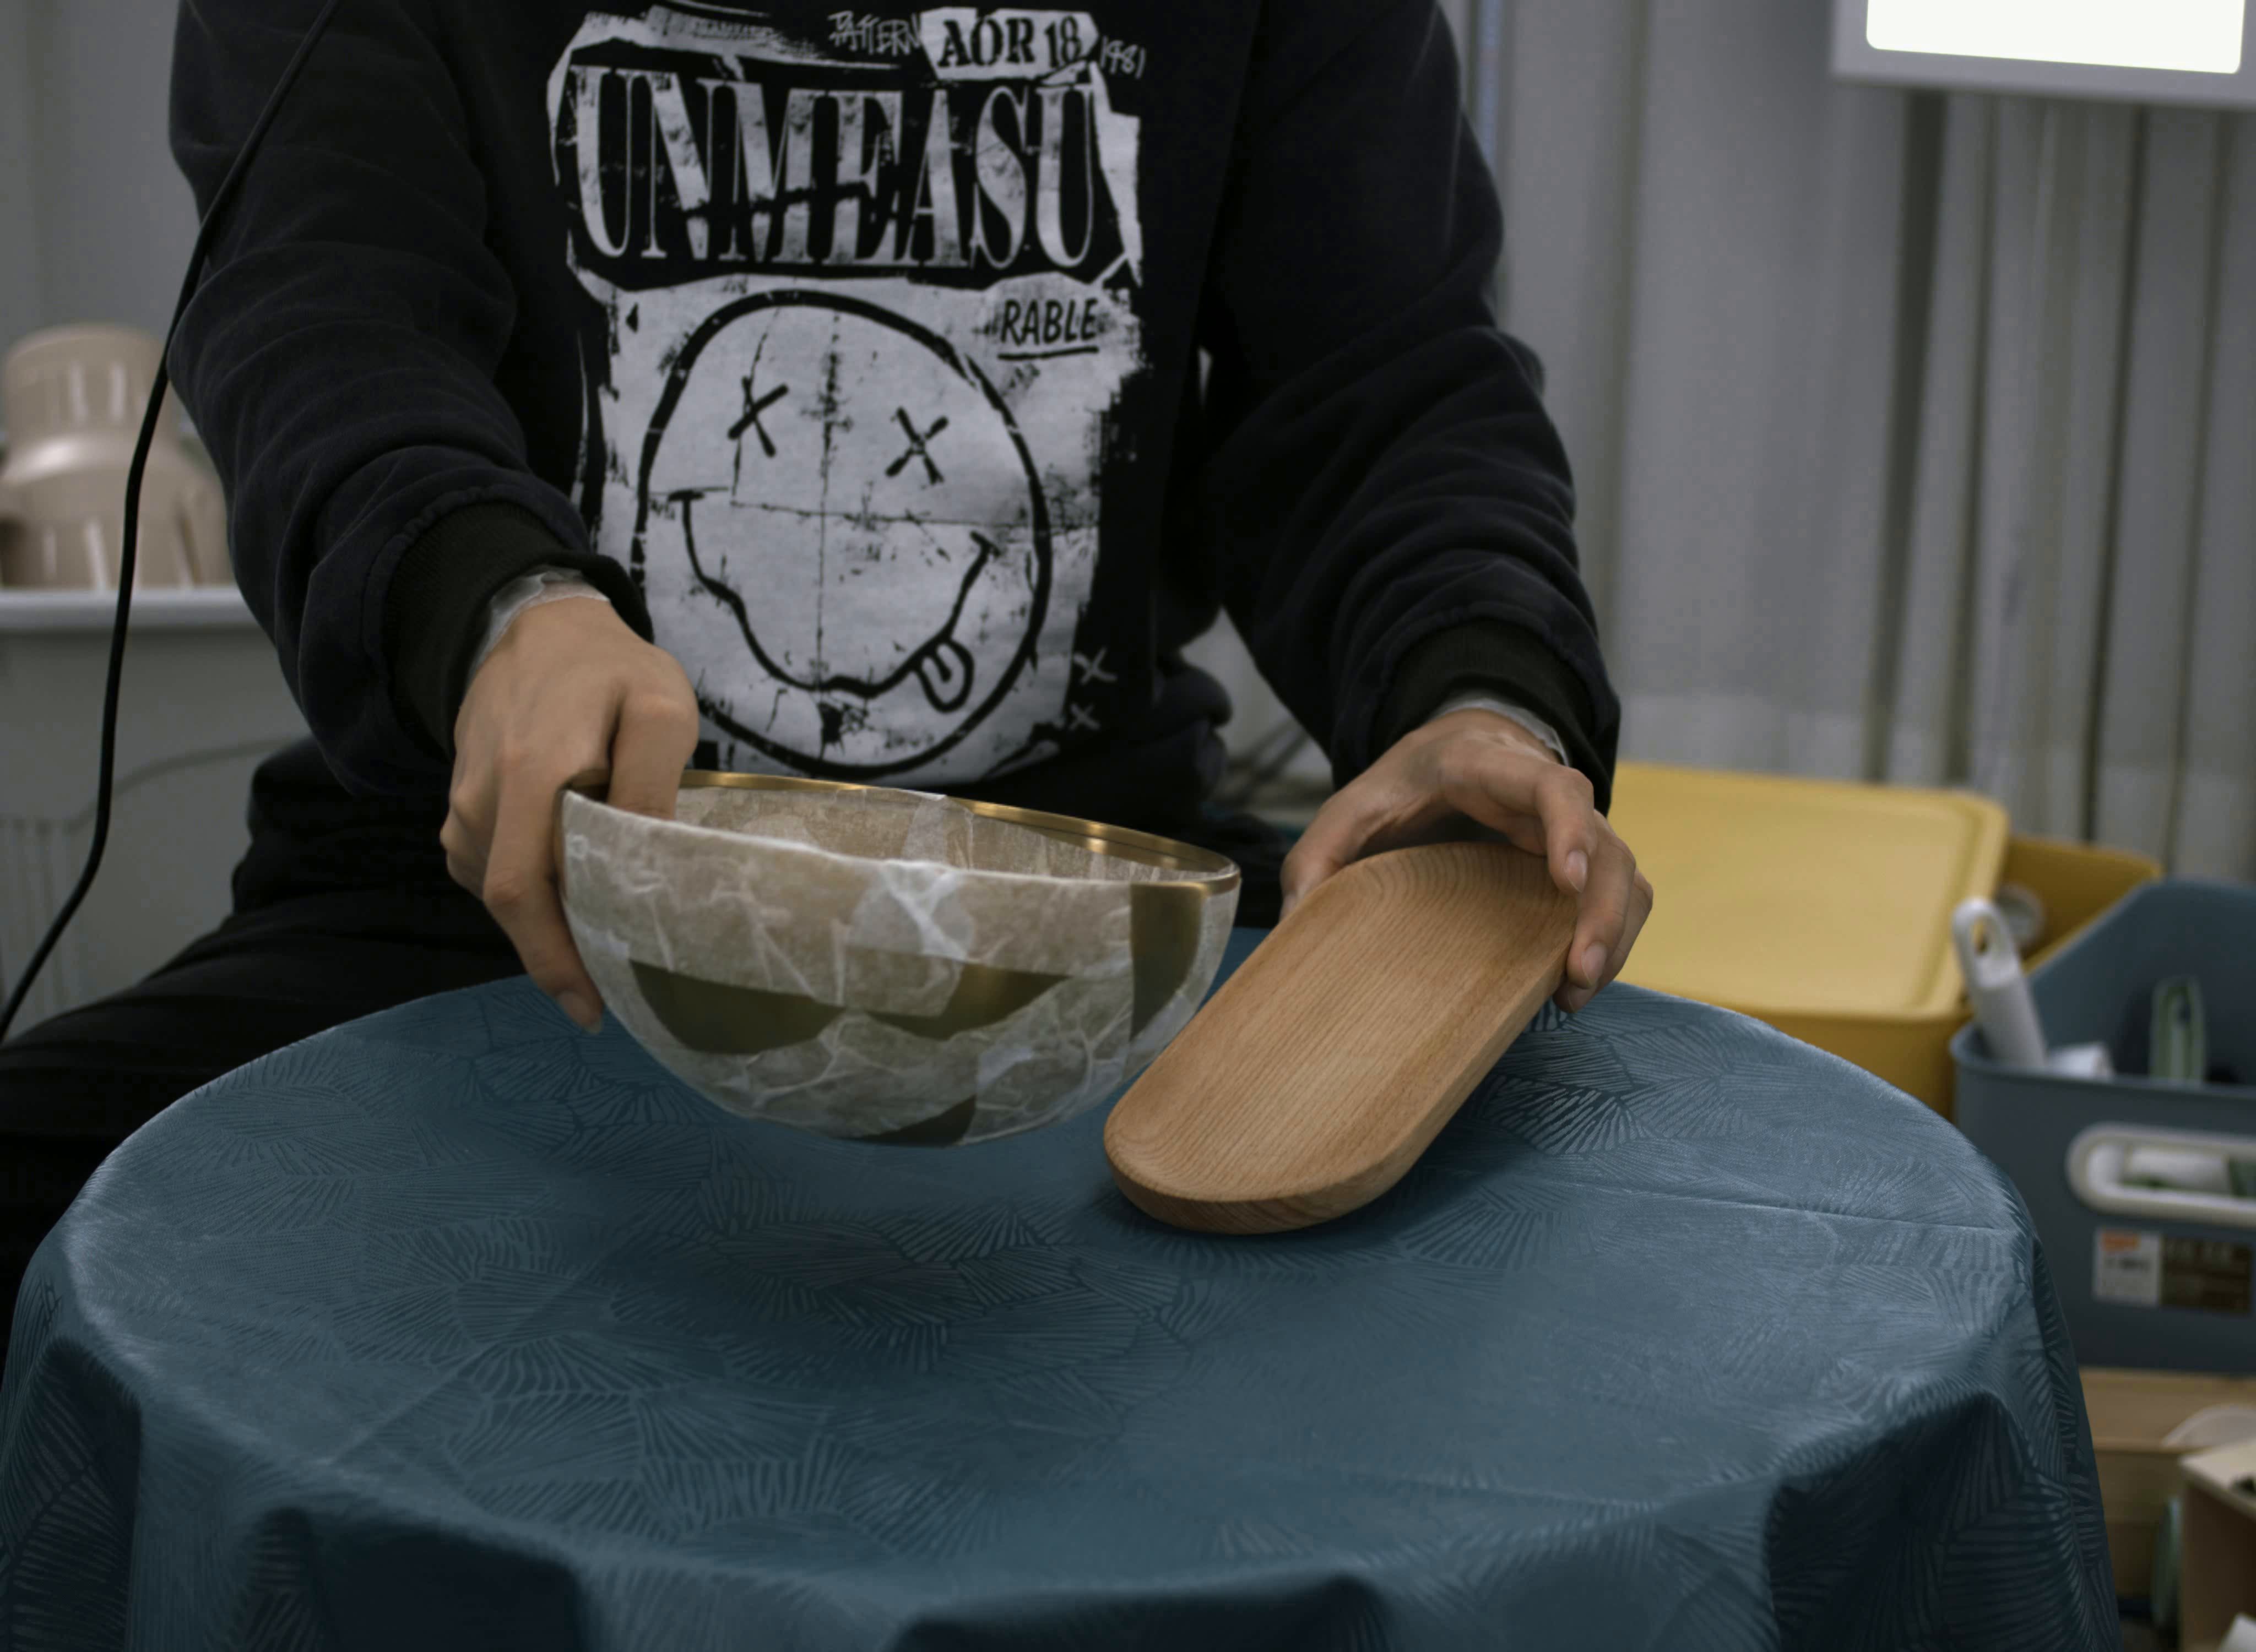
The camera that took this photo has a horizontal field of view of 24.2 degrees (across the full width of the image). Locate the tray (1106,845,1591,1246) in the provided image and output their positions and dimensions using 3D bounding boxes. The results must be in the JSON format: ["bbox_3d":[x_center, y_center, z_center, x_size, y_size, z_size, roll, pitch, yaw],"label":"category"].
[{"bbox_3d":[0.073,0.067,1.669,0.100,0.020,0.231,4,31,28],"label":"tray"}]

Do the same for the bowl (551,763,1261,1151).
[{"bbox_3d":[-0.068,0.043,1.525,0.214,0.095,0.214,7,6,0],"label":"bowl"}]
